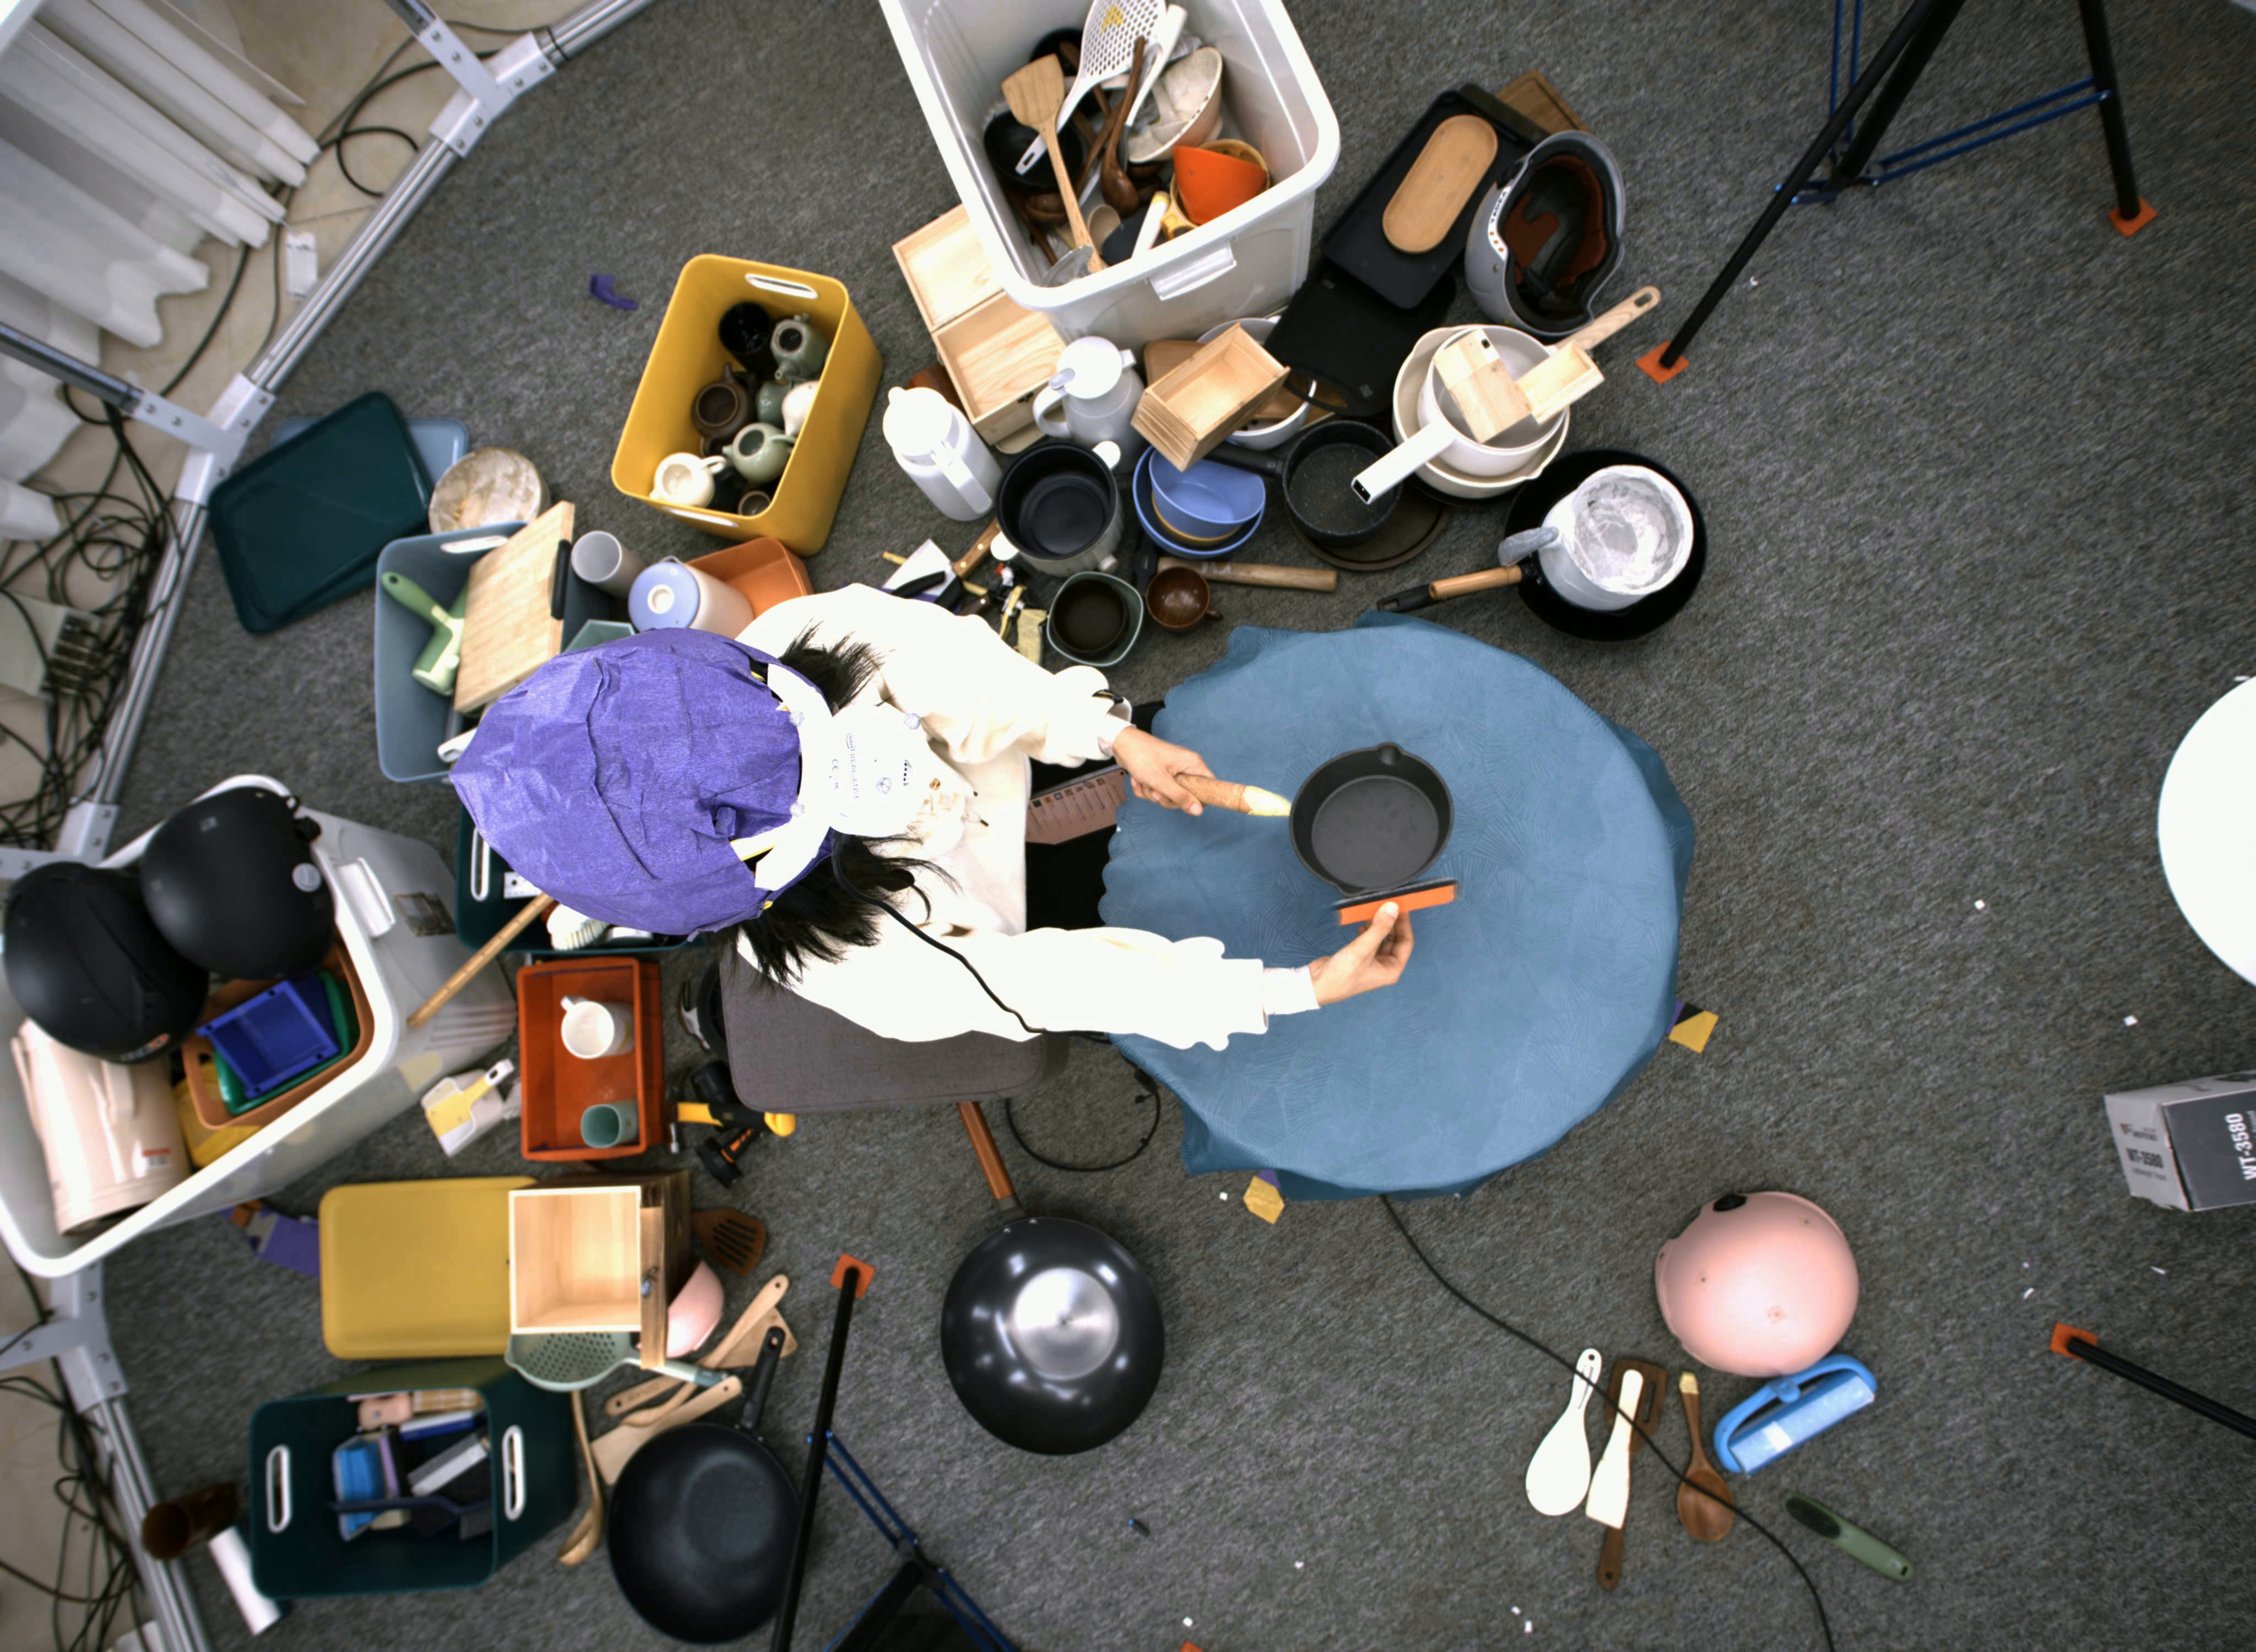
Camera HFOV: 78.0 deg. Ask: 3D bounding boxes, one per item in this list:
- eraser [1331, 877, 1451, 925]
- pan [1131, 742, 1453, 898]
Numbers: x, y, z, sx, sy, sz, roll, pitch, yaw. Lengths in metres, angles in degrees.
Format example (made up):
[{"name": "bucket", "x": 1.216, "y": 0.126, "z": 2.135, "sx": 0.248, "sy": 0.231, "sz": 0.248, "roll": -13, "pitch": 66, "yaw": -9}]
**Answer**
[{"name": "eraser", "x": 0.248, "y": 0.070, "z": 1.306, "sx": 0.108, "sy": 0.059, "sz": 0.023, "roll": -12, "pitch": 90, "yaw": 6}, {"name": "pan", "x": 0.157, "y": -0.020, "z": 1.355, "sx": 0.325, "sy": 0.050, "sz": 0.166, "roll": 11, "pitch": 69, "yaw": 22}]
